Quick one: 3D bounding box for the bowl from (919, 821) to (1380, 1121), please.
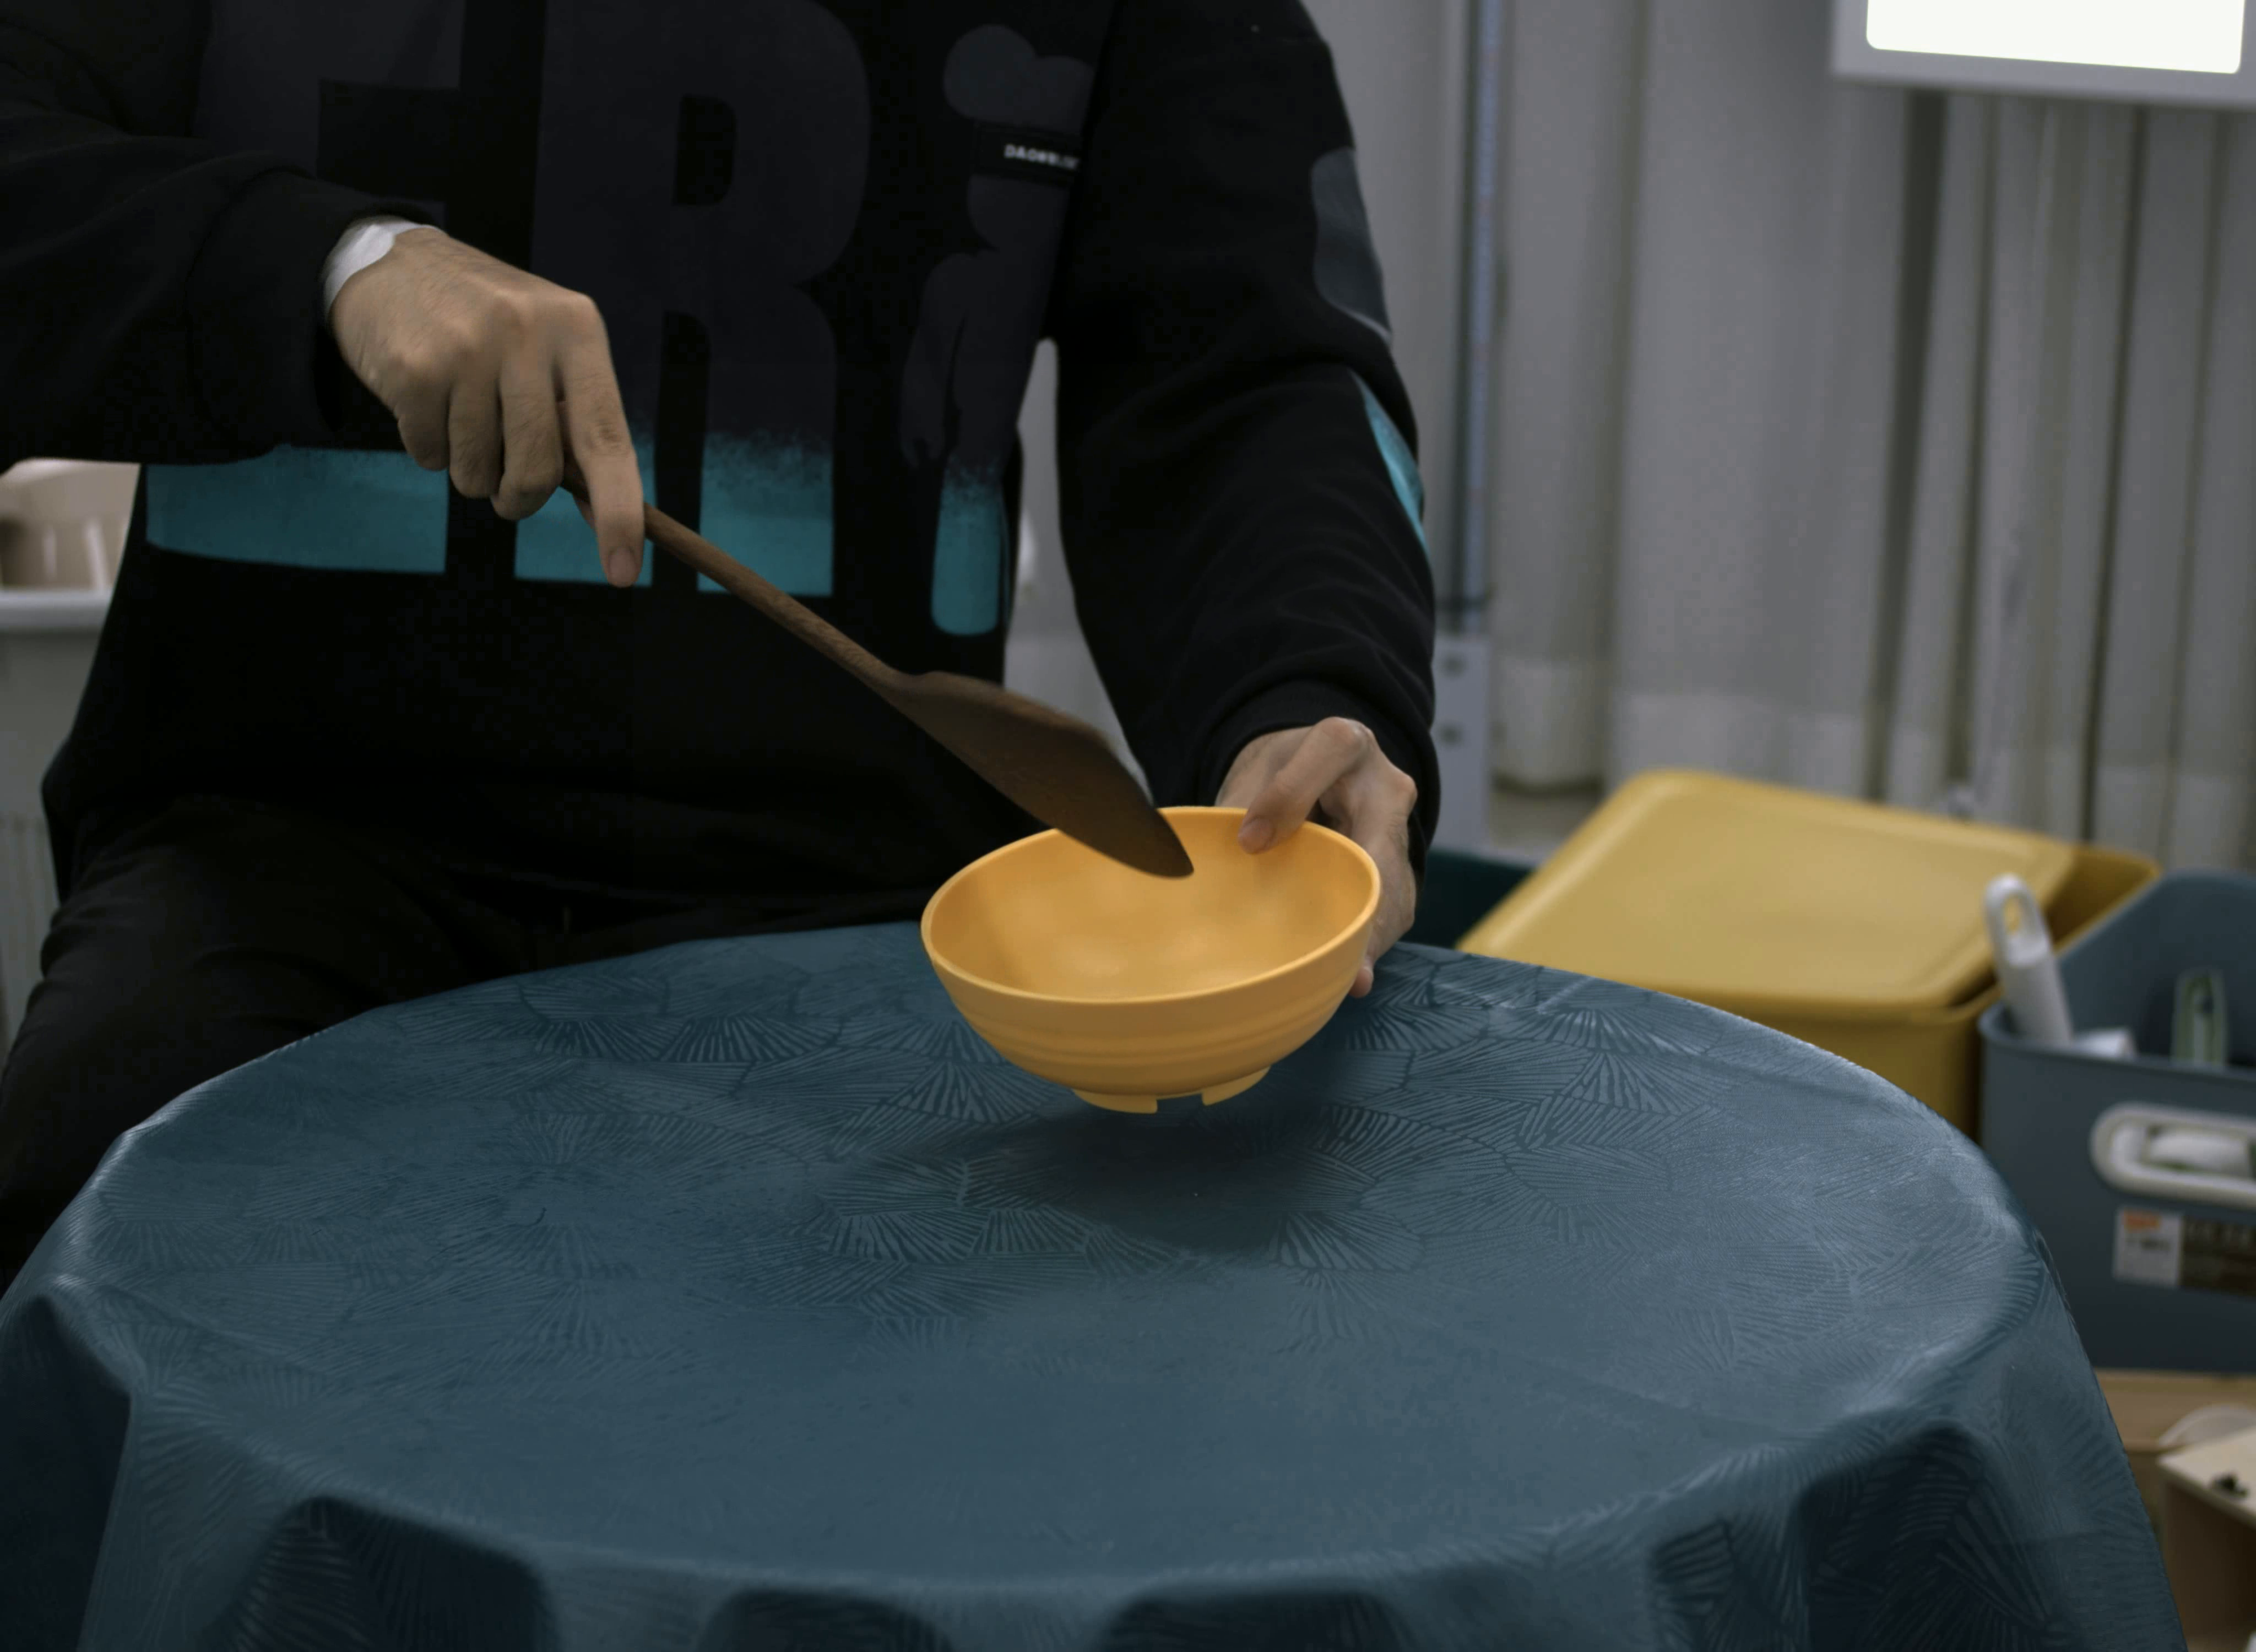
[{"bbox_3d":[0.008,0.052,1.657,0.145,0.061,0.144,-3,22,2],"label":"bowl"}]

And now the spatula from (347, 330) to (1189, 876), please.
[{"bbox_3d":[-0.127,-0.082,1.697,0.381,0.016,0.097,32,-10,33],"label":"spatula"}]
